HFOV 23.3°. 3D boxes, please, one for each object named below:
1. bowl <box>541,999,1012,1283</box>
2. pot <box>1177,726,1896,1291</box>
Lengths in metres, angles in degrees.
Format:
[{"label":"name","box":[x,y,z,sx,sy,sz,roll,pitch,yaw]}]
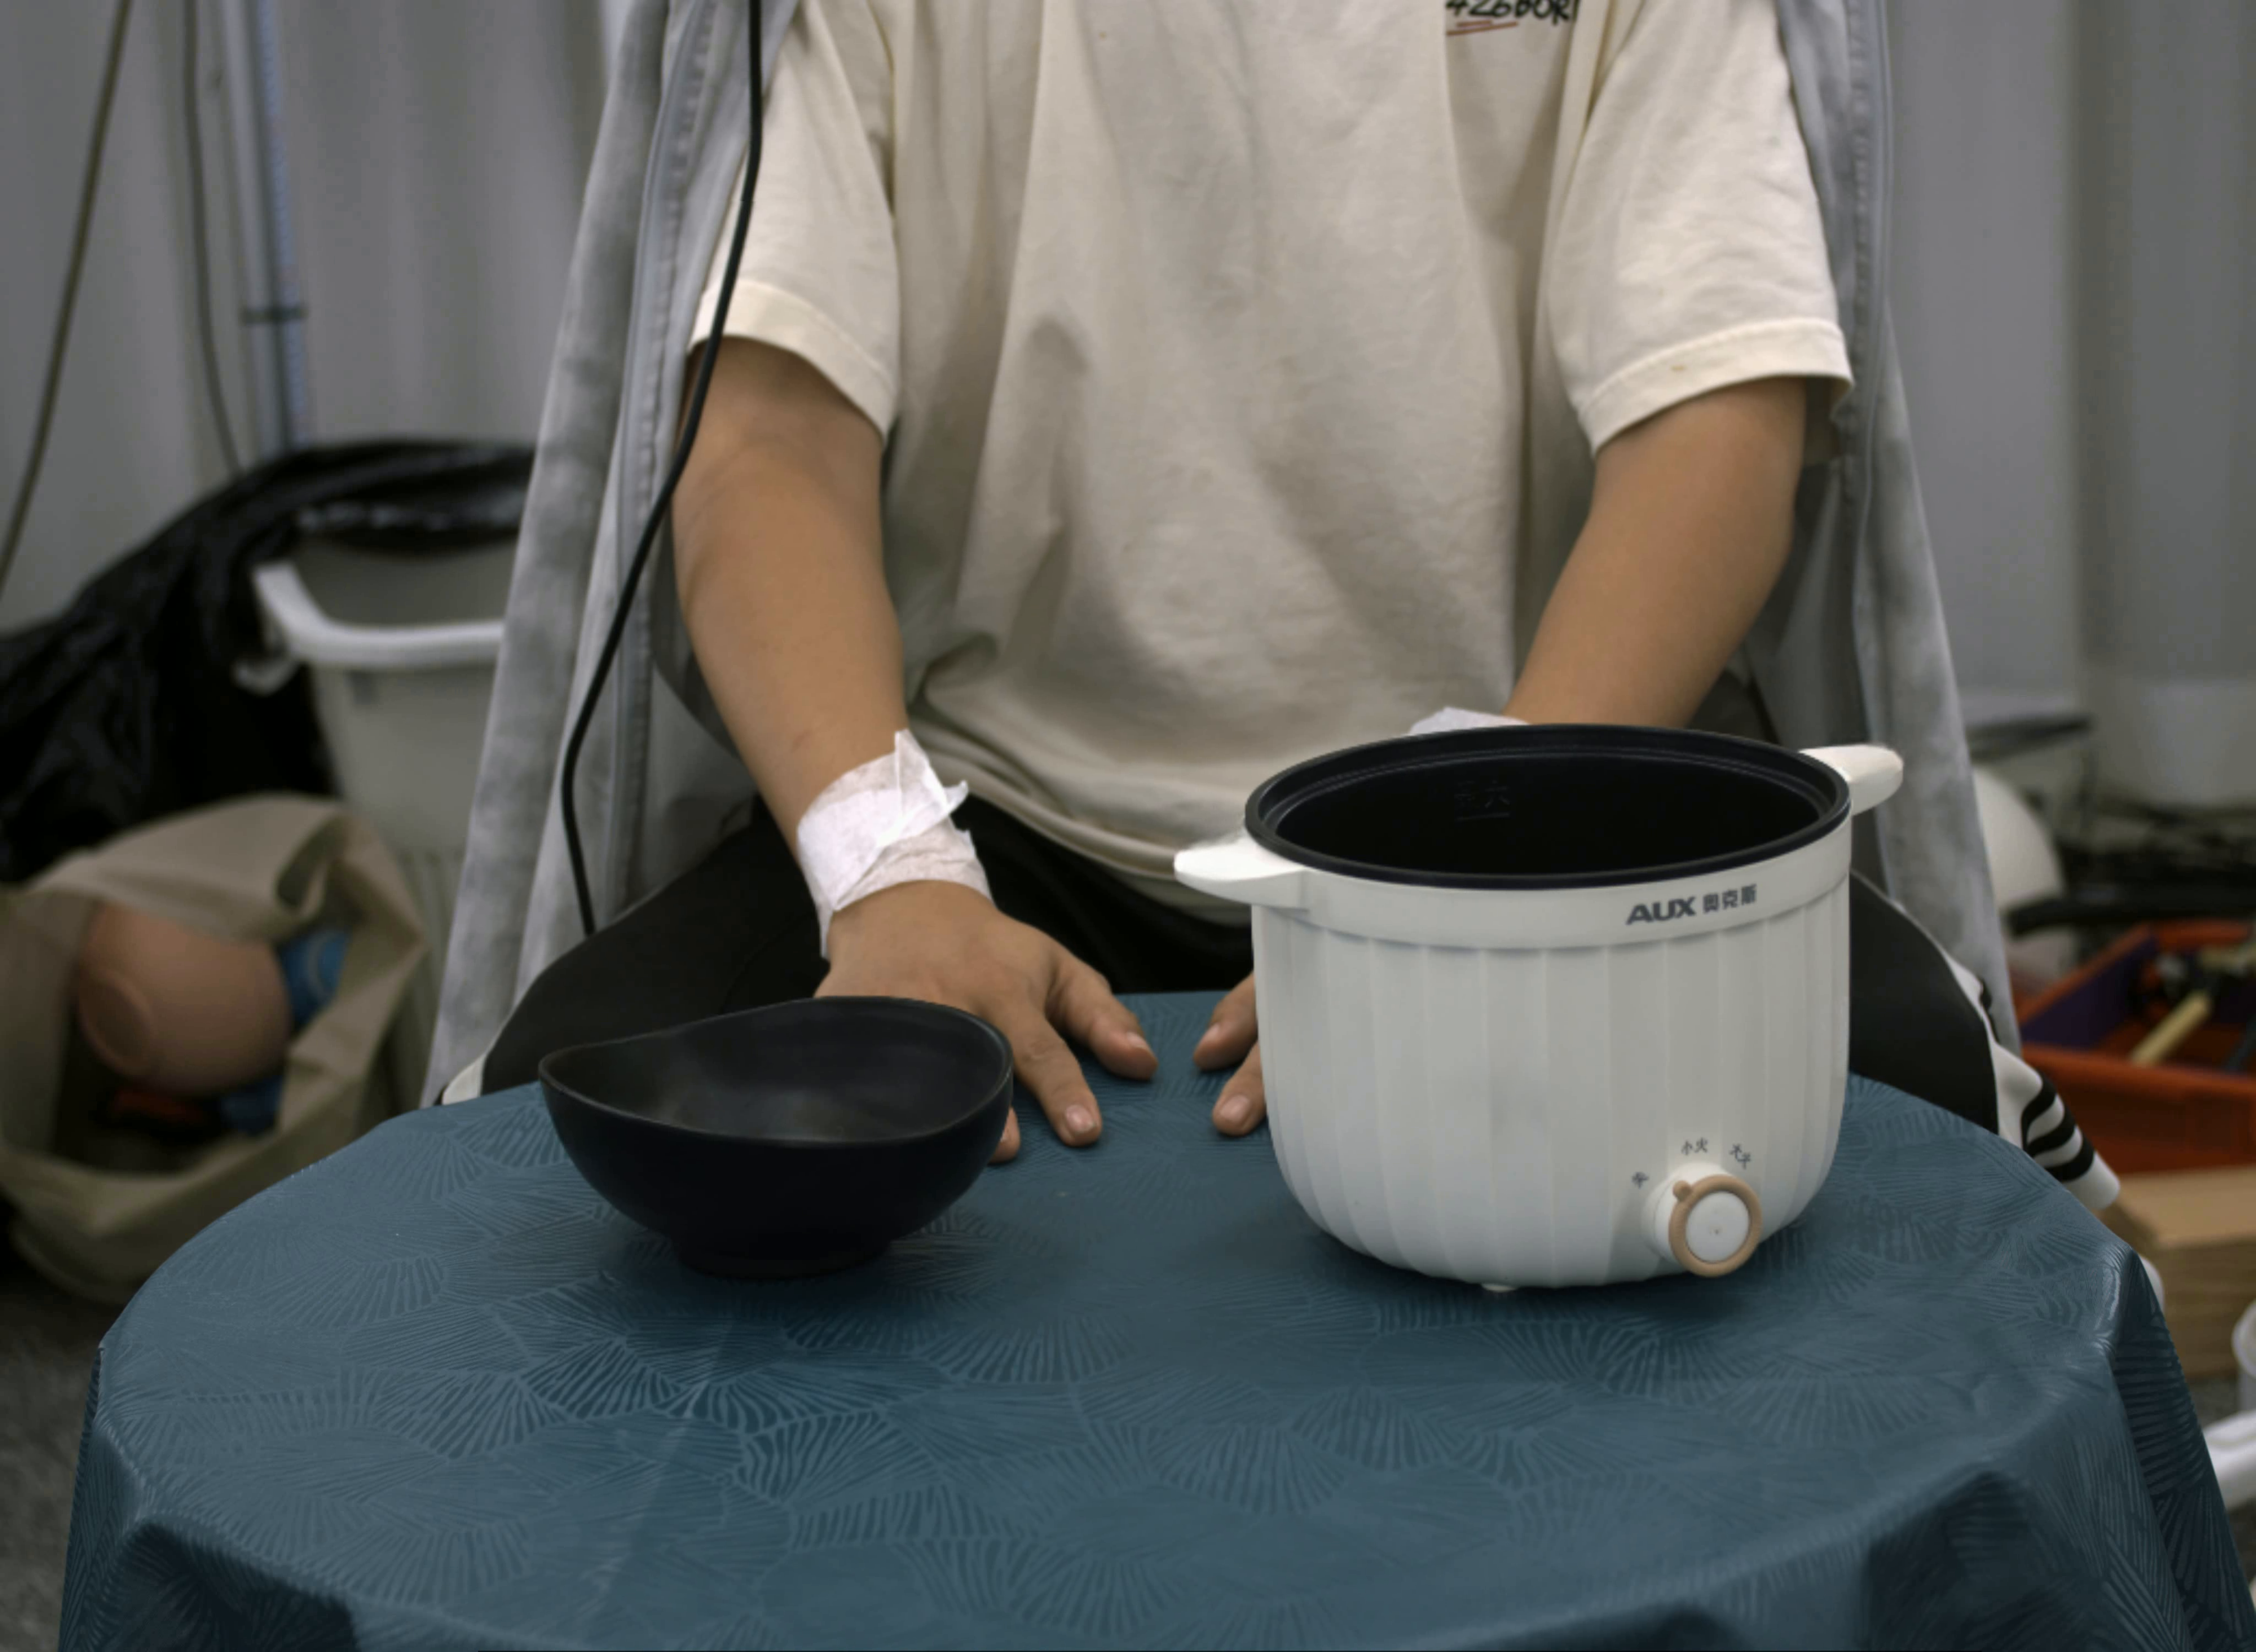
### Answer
[{"label":"bowl","box":[-0.108,0.100,1.673,0.137,0.066,0.171,-11,16,-32]},{"label":"pot","box":[0.131,0.057,1.647,0.239,0.142,0.192,-10,12,-22]}]
